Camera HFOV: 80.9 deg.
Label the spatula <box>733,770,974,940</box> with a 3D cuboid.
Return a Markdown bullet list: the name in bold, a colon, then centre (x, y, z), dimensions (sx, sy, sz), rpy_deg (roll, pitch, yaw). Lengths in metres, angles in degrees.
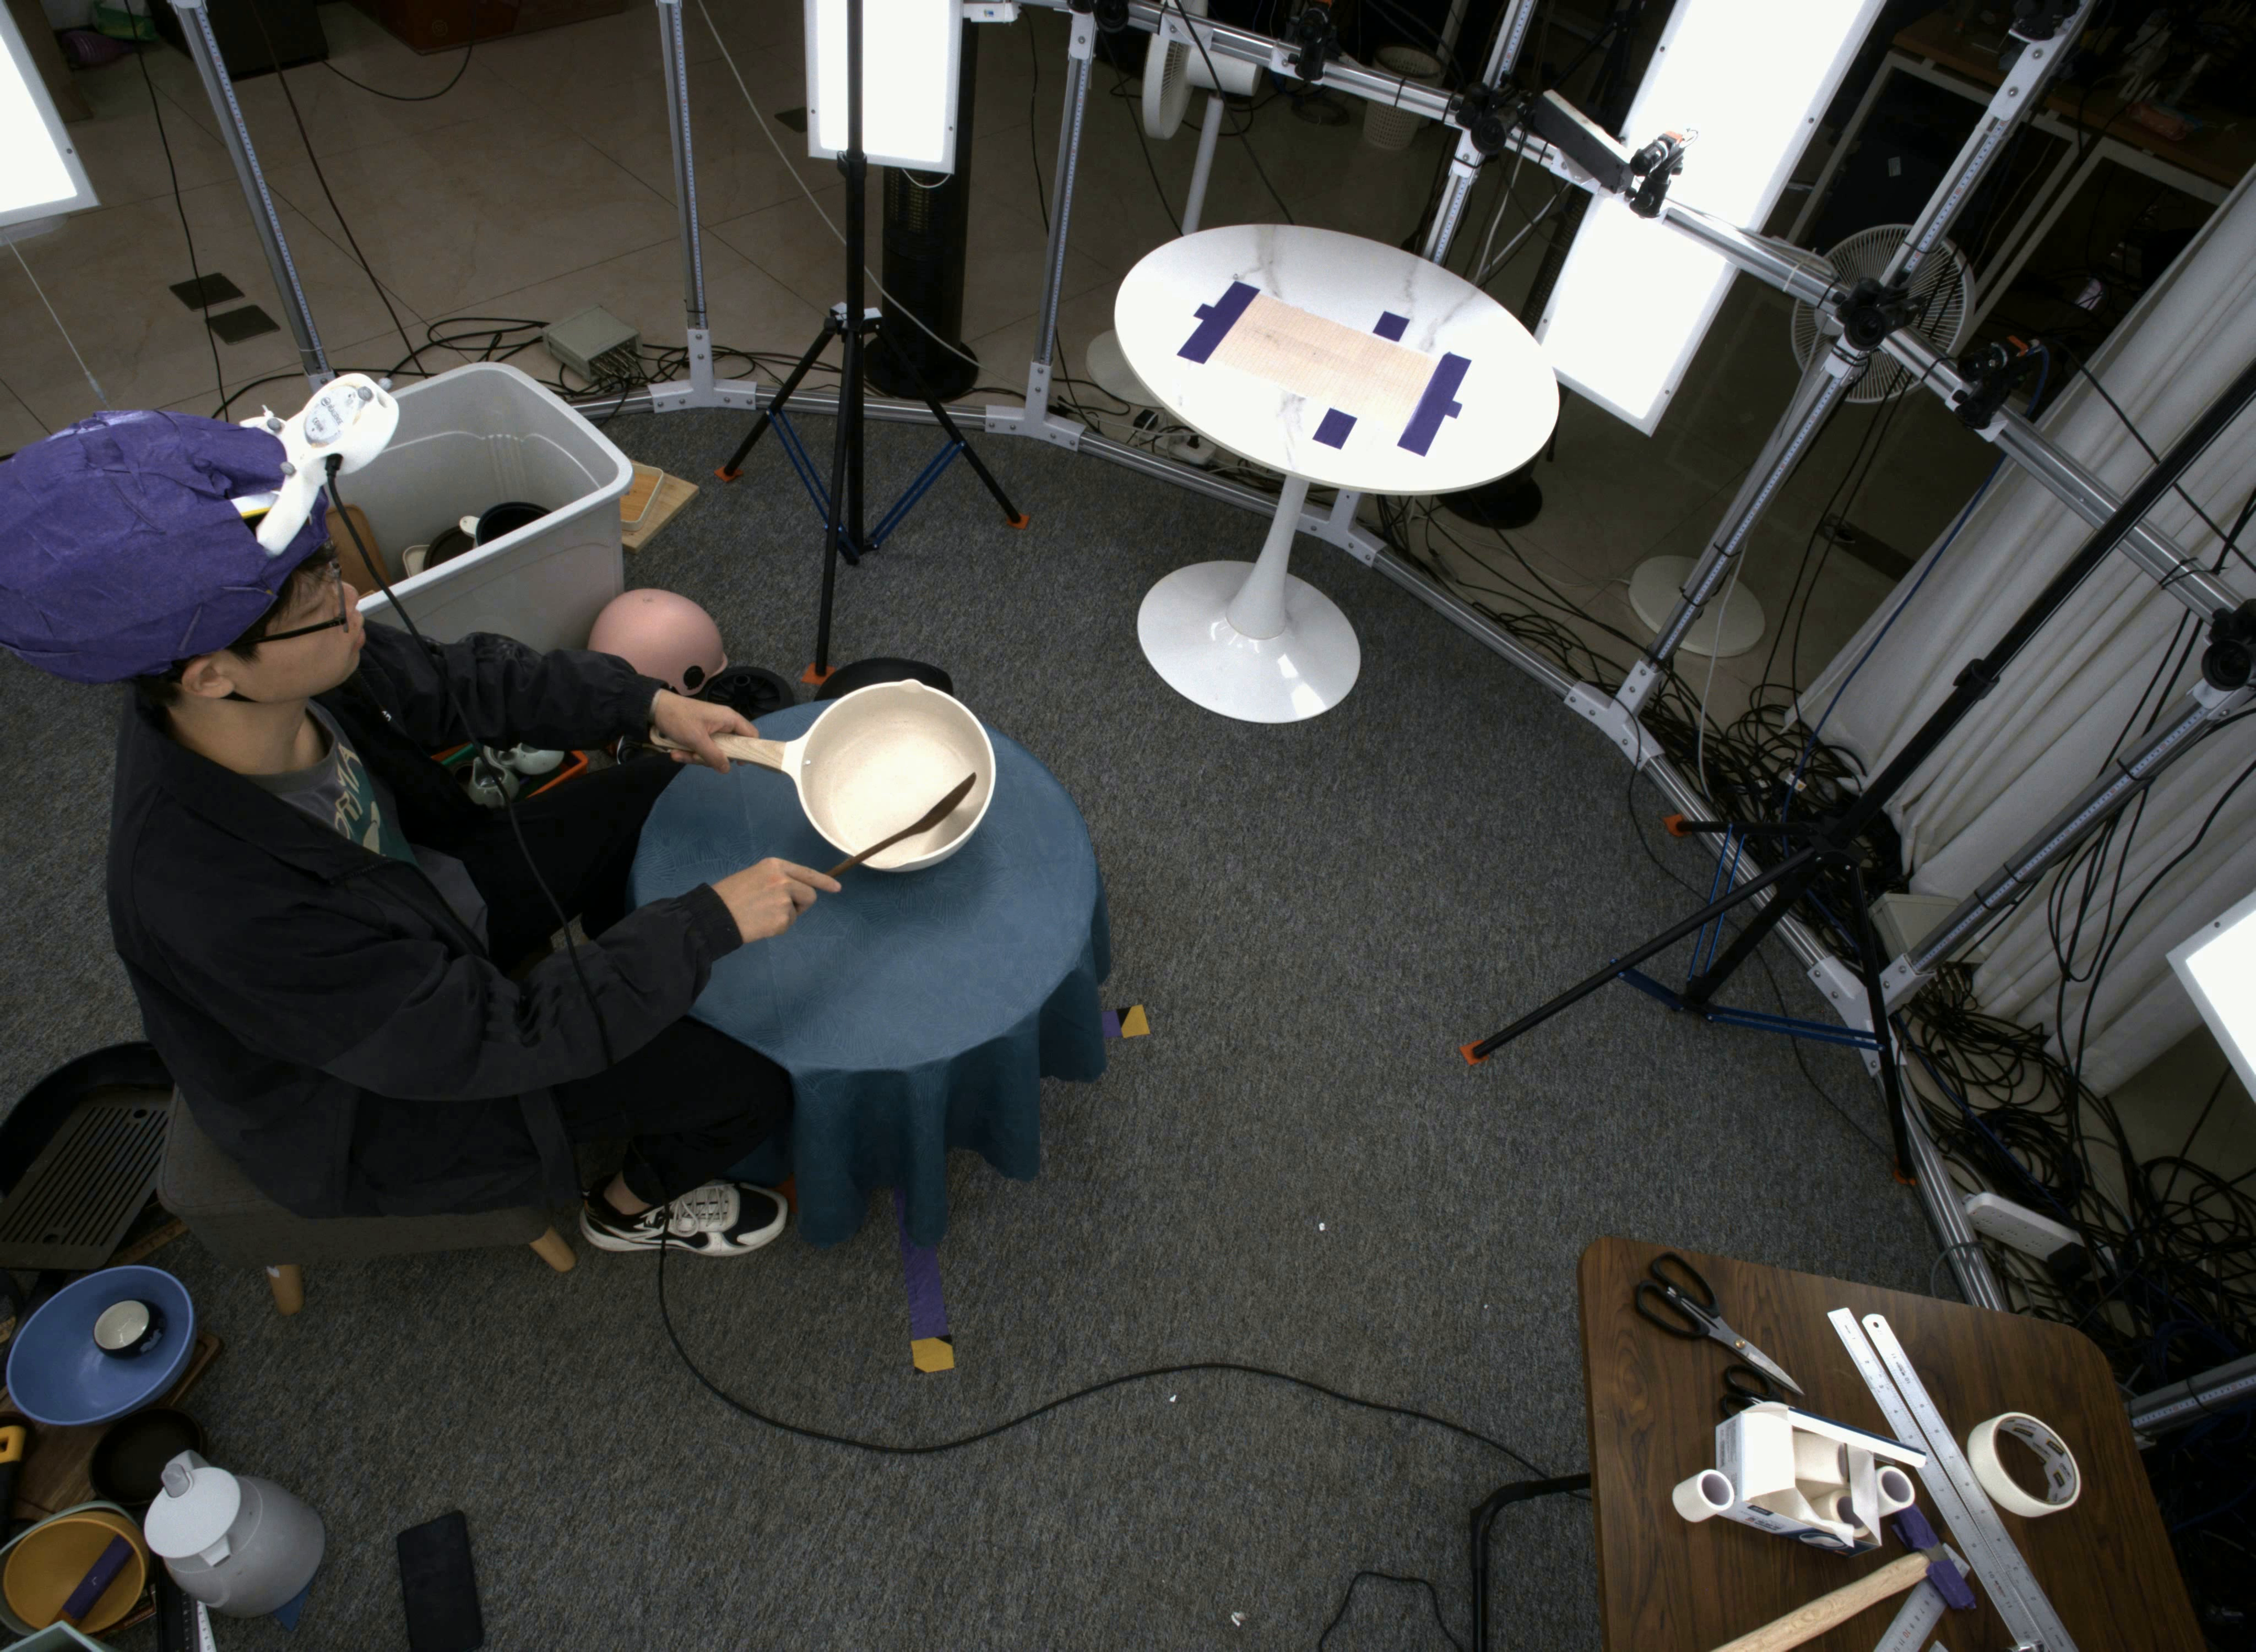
- **spatula**: centre (-0.324, 0.035, 1.568), dimensions (0.015, 0.096, 0.387), rpy_deg (48, 48, 8)

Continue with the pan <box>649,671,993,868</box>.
- **pan**: centre (-0.390, -0.077, 1.671), dimensions (0.432, 0.103, 0.262), rpy_deg (7, 71, -6)
